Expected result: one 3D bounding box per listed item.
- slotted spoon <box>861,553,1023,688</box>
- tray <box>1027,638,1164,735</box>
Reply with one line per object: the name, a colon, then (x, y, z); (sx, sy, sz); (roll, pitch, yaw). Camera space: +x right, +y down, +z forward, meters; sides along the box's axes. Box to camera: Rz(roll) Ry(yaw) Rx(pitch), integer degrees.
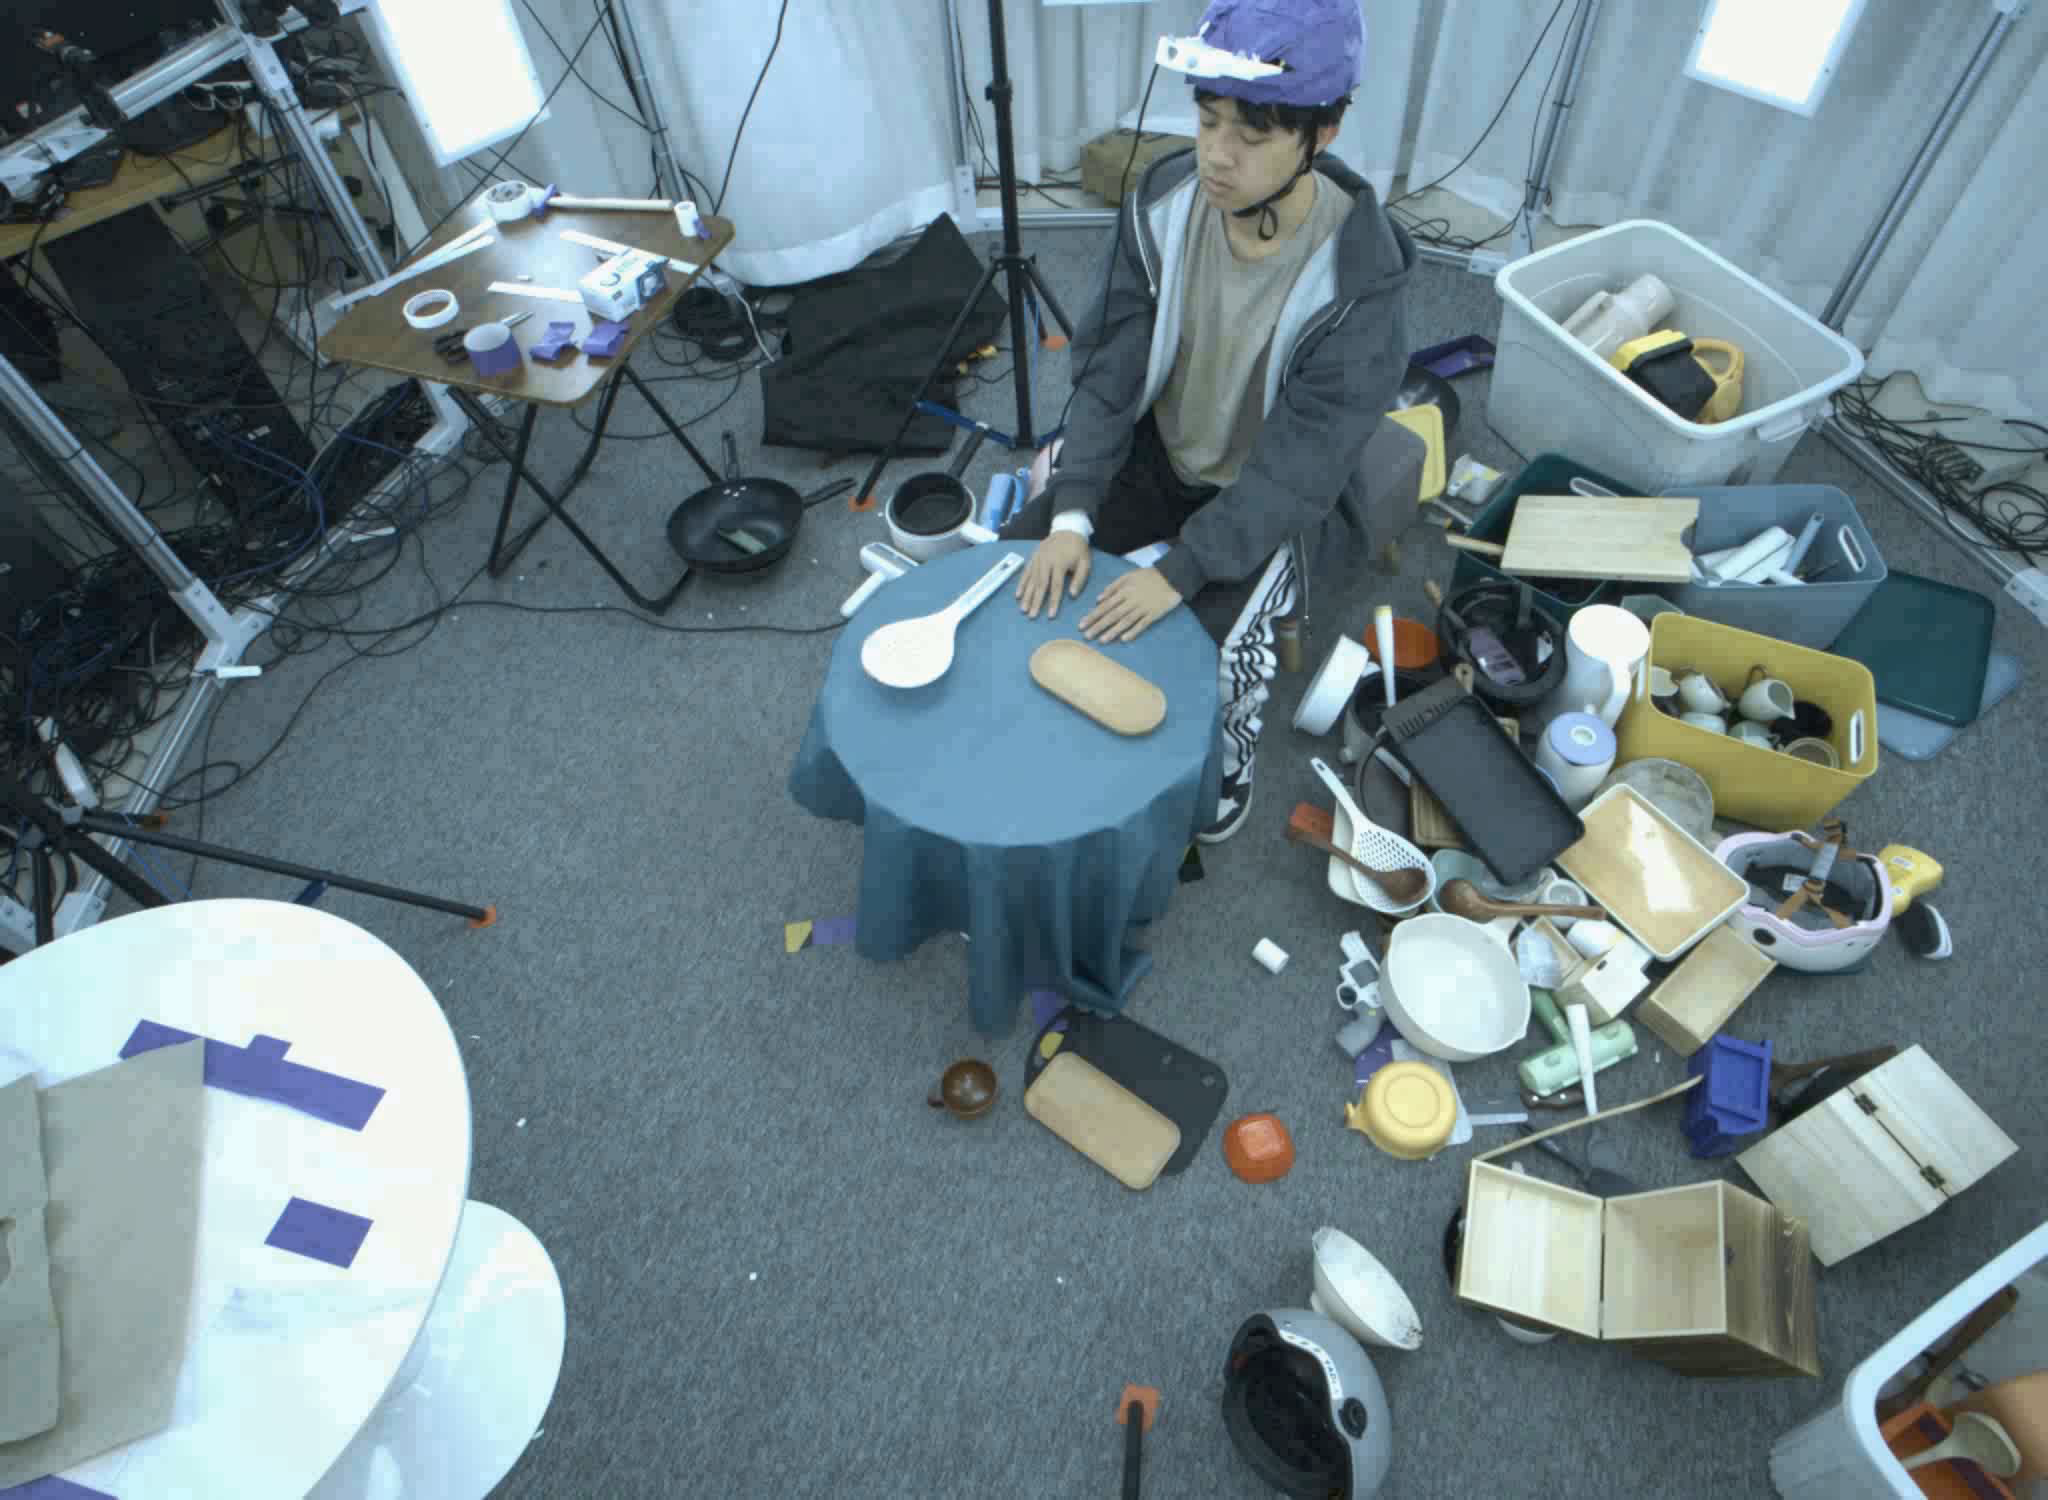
slotted spoon: (-0.115, -0.208, 1.914); (0.134, 0.046, 0.351); (31, 60, 19)
tray: (0.106, -0.095, 1.844); (0.227, 0.020, 0.102); (31, 60, 23)
